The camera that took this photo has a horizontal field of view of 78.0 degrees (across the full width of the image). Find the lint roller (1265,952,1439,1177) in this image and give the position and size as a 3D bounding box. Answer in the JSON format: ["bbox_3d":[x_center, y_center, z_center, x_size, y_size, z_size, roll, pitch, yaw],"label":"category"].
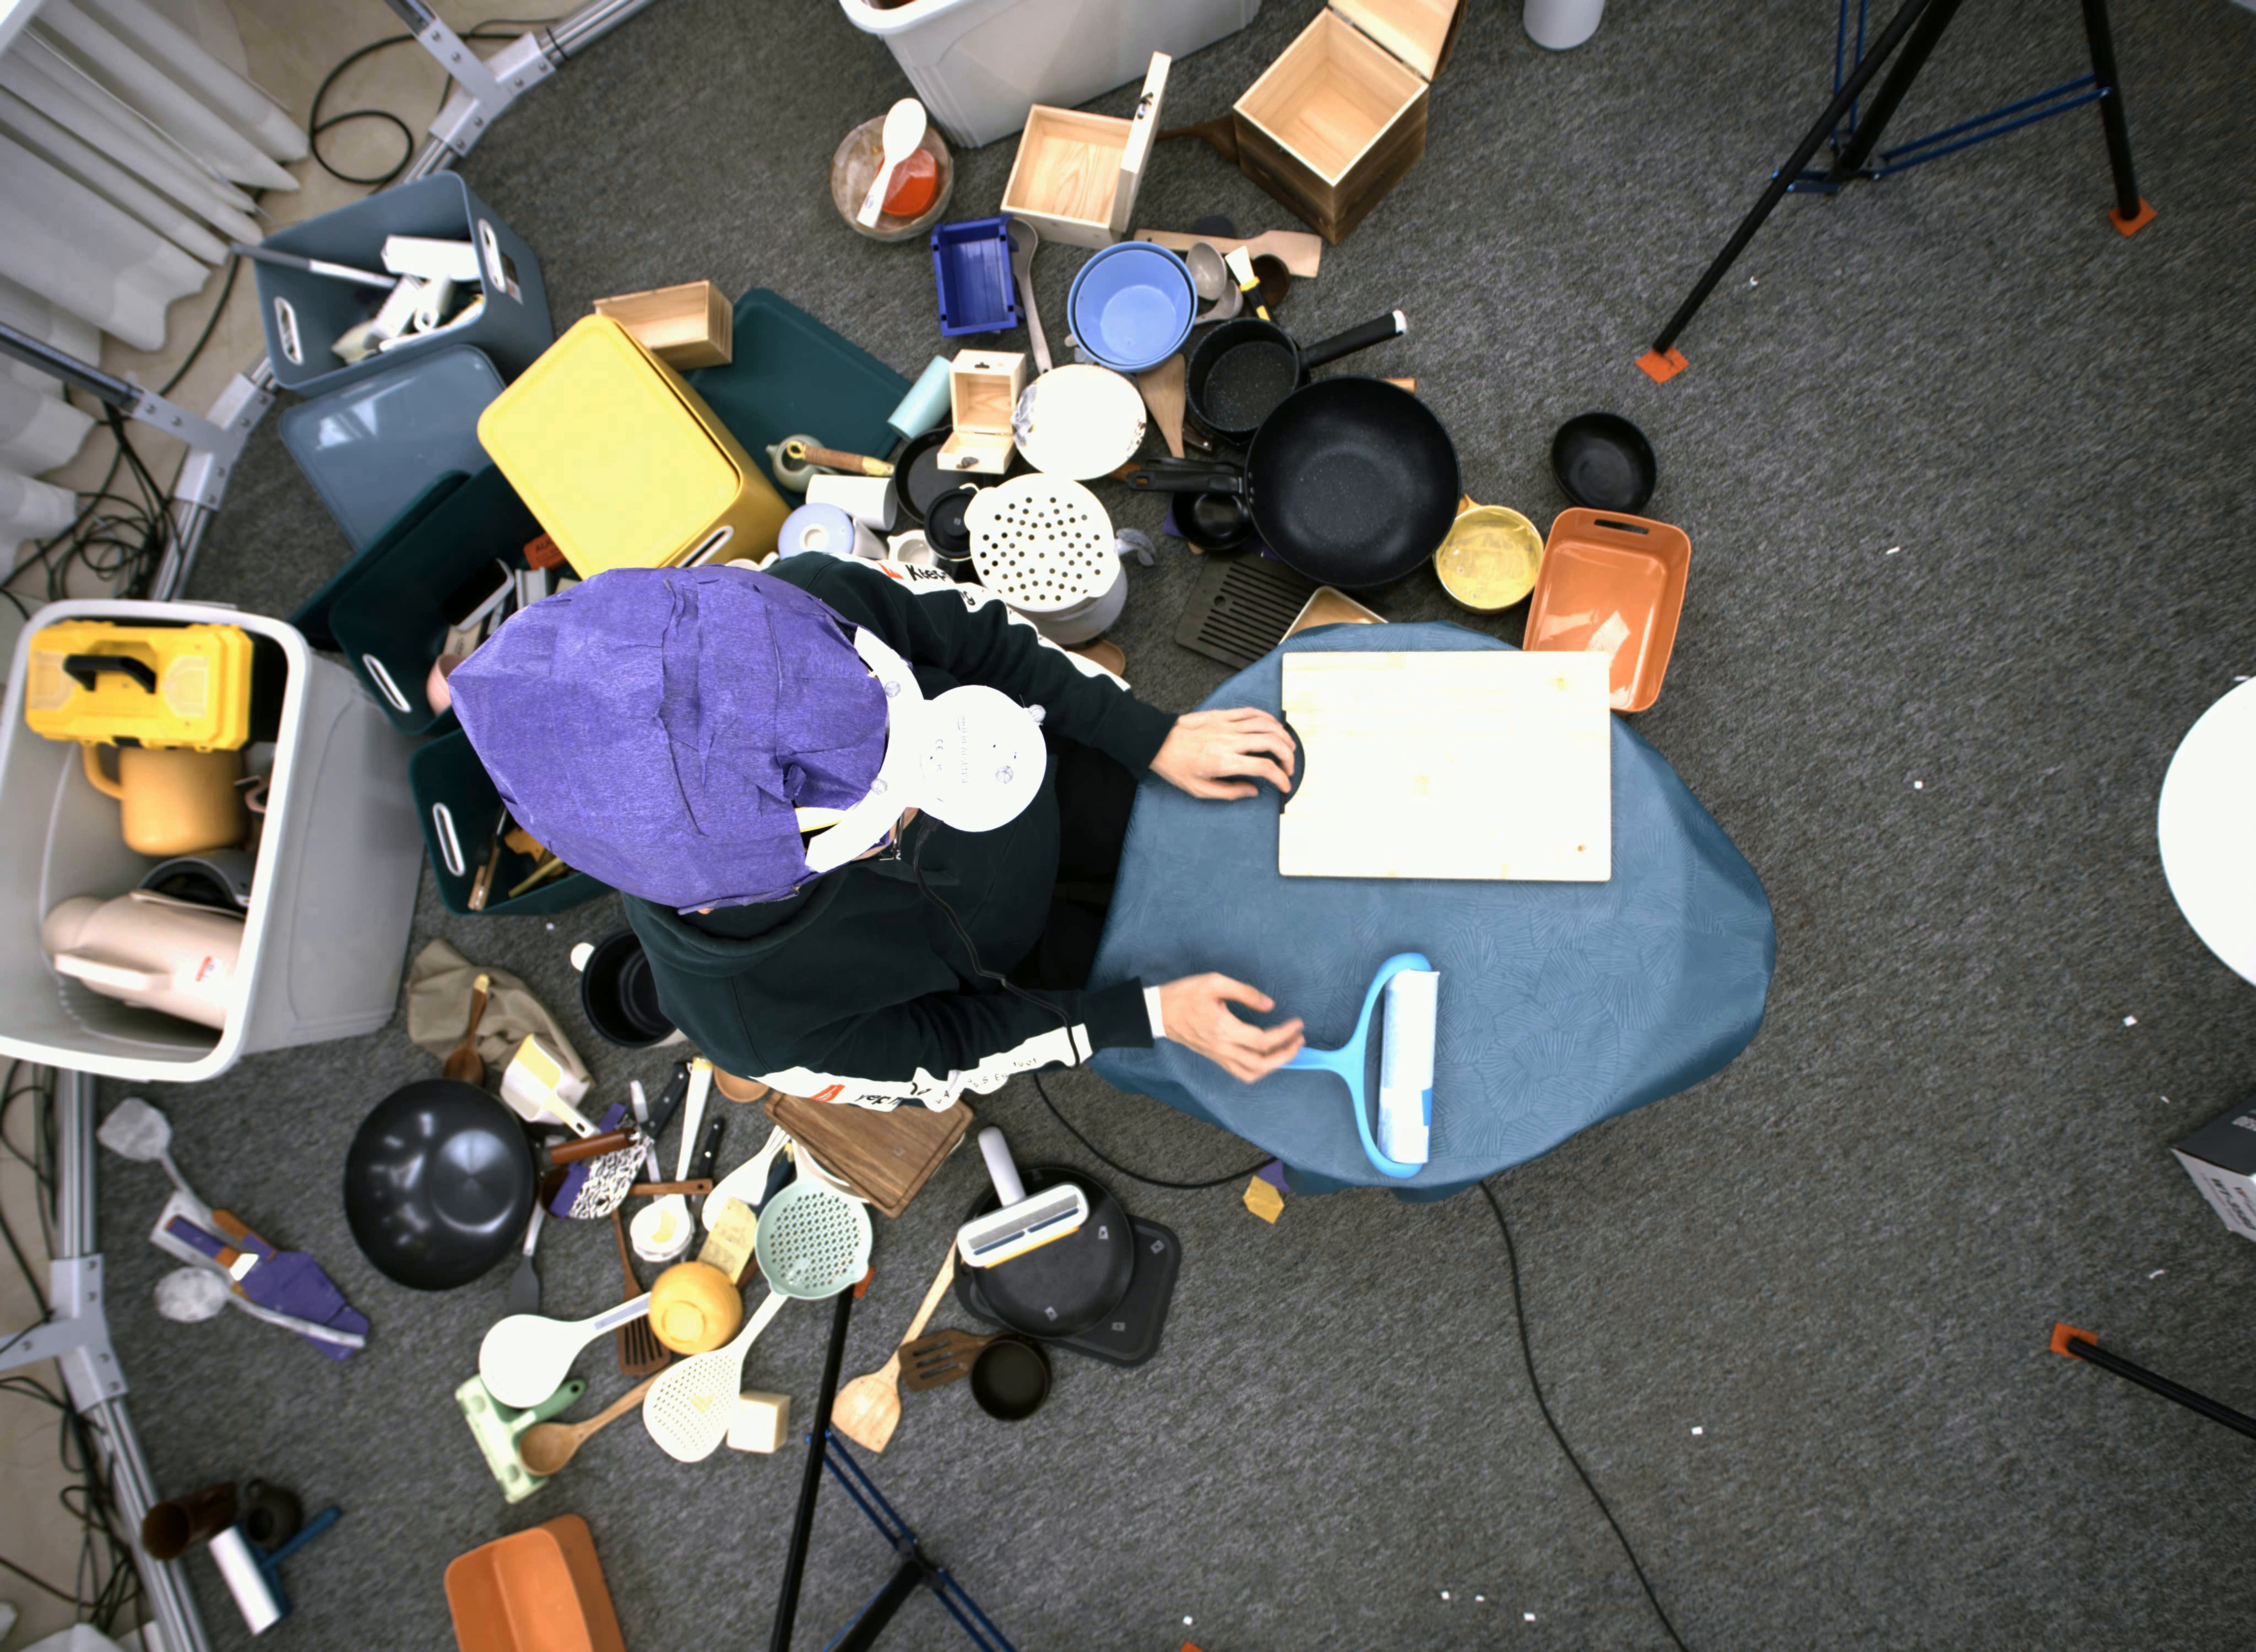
[{"bbox_3d":[0.229,0.242,1.425,0.181,0.068,0.228,0,88,9],"label":"lint roller"}]

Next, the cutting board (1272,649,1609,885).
[{"bbox_3d":[0.326,-0.067,1.444,0.350,0.023,0.249,0,87,10],"label":"cutting board"}]
